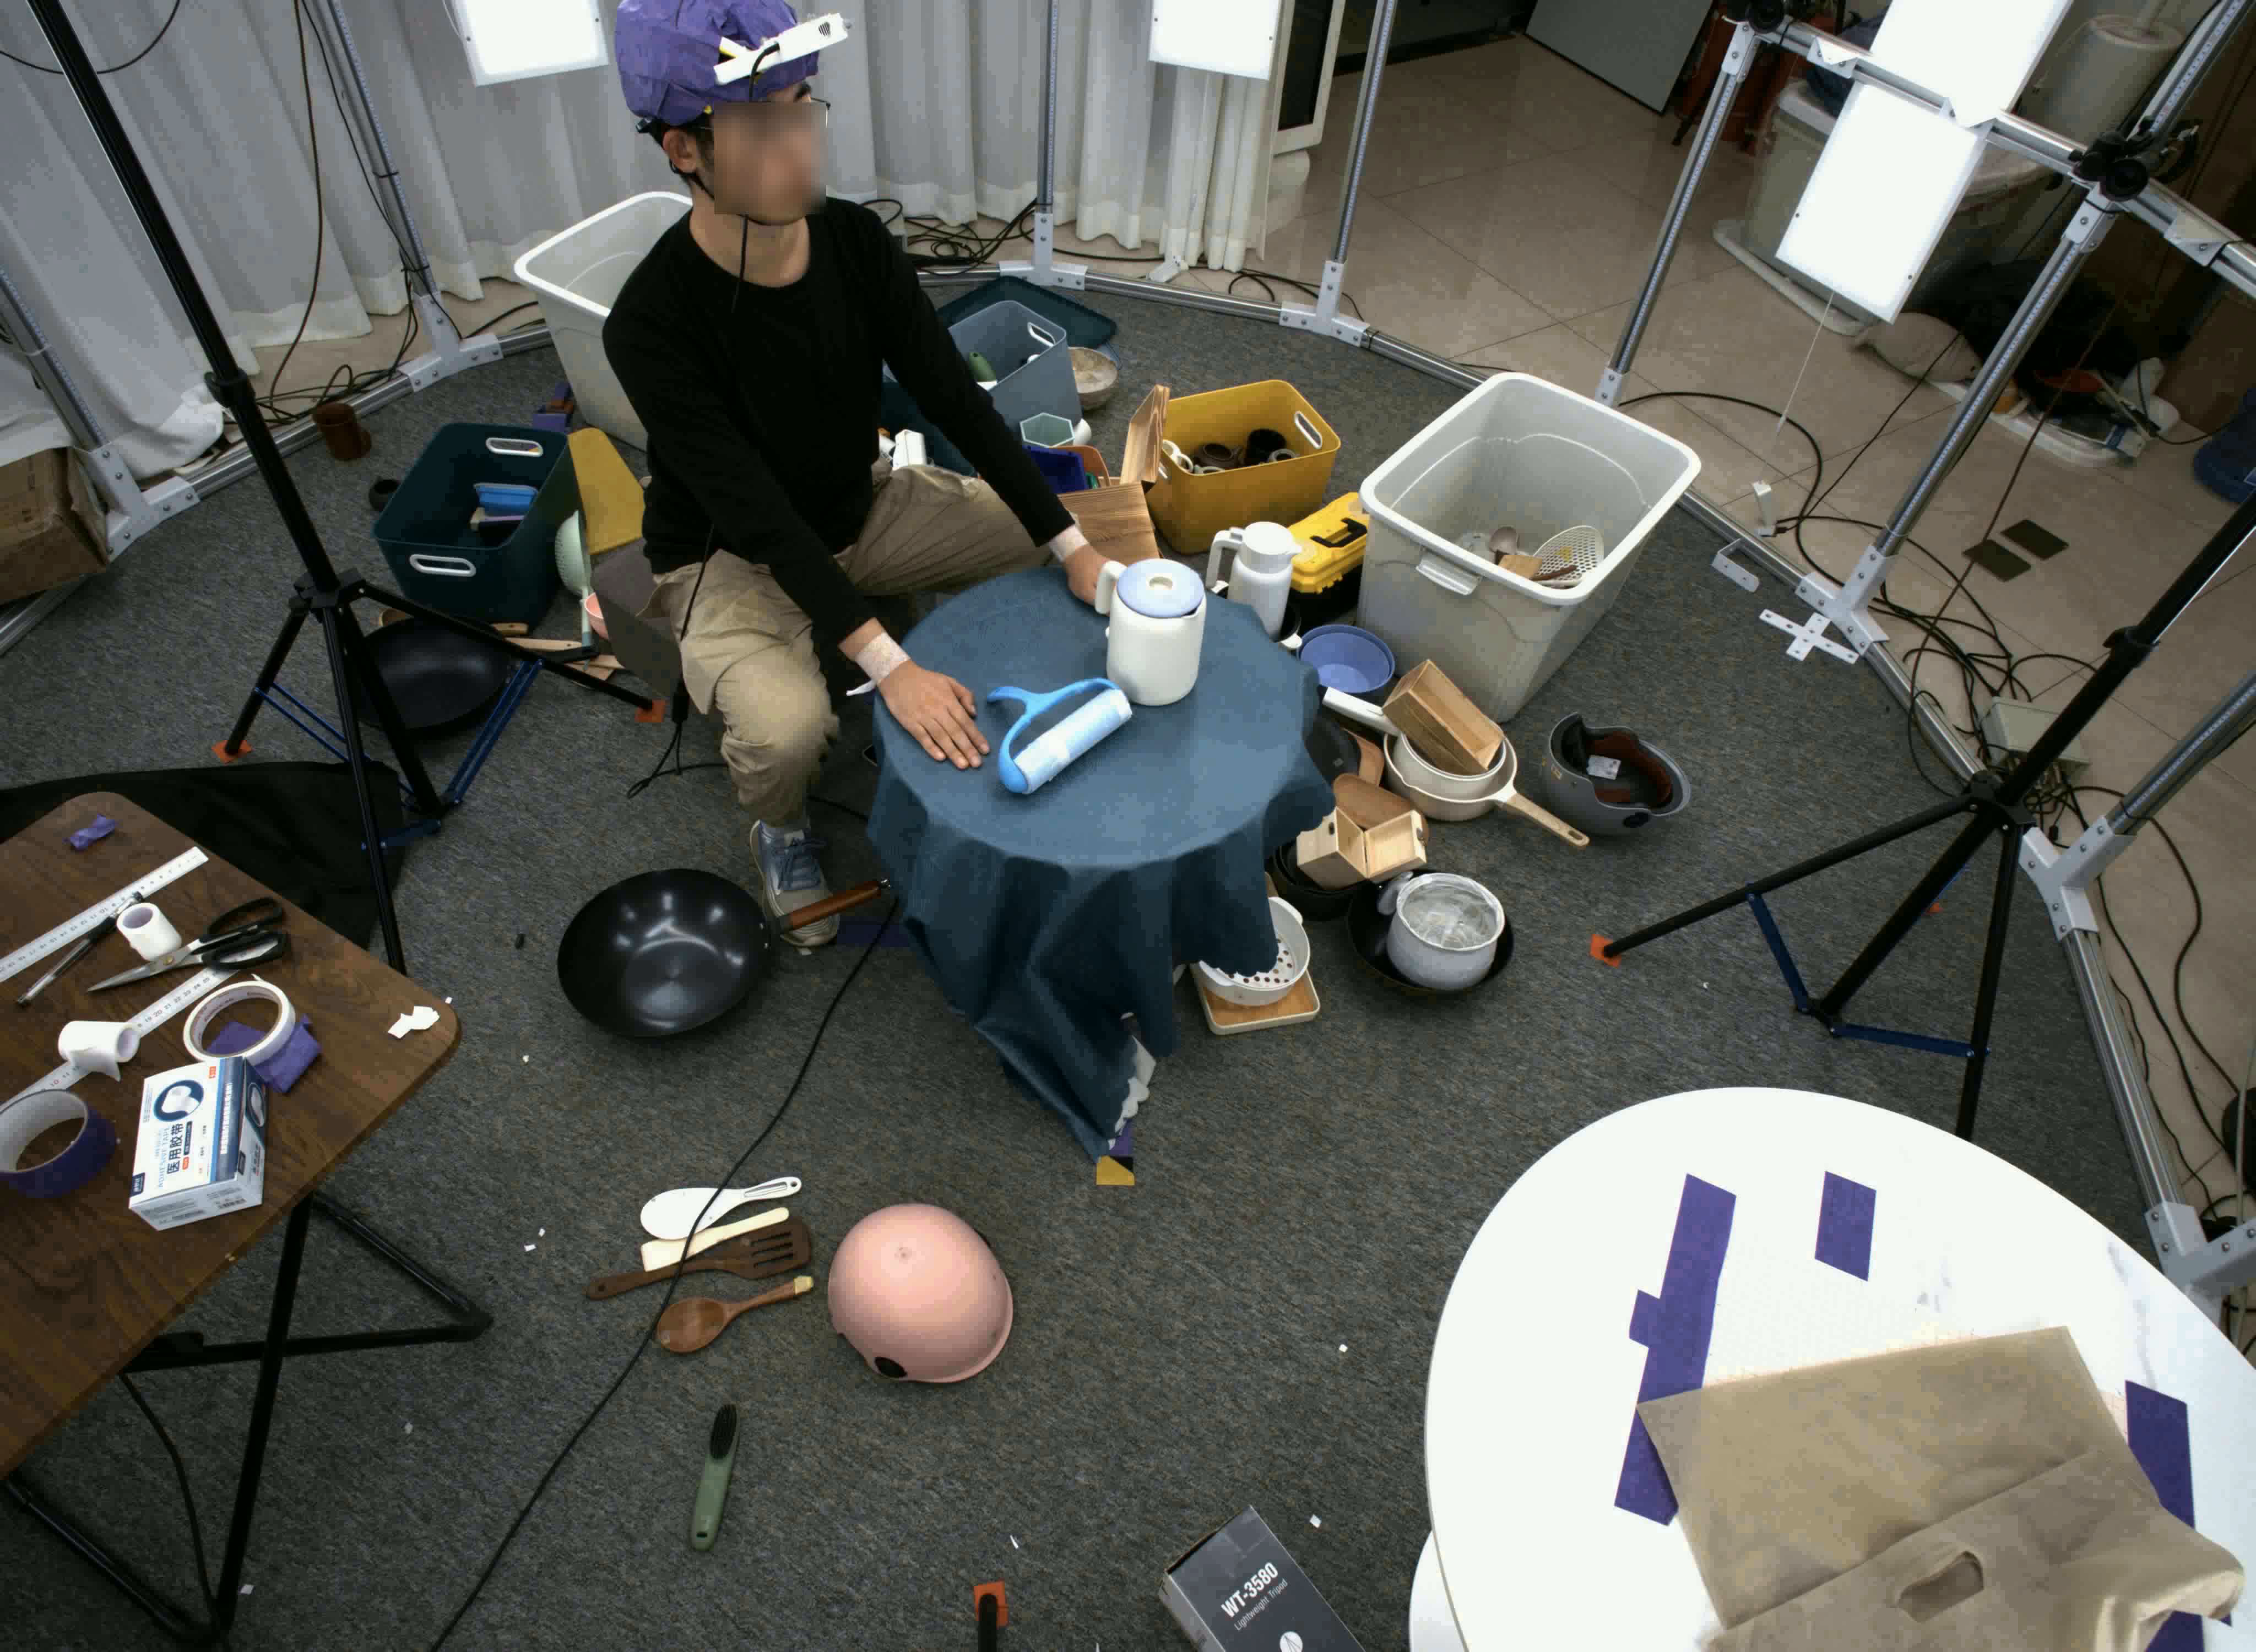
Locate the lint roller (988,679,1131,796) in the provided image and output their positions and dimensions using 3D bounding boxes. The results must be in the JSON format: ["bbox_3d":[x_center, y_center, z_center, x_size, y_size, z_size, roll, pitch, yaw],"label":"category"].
[{"bbox_3d":[-0.125,-0.150,1.753,0.182,0.066,0.231,37,59,19],"label":"lint roller"}]

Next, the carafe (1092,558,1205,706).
[{"bbox_3d":[0.021,-0.285,1.807,0.133,0.178,0.194,-35,58,-30],"label":"carafe"}]
